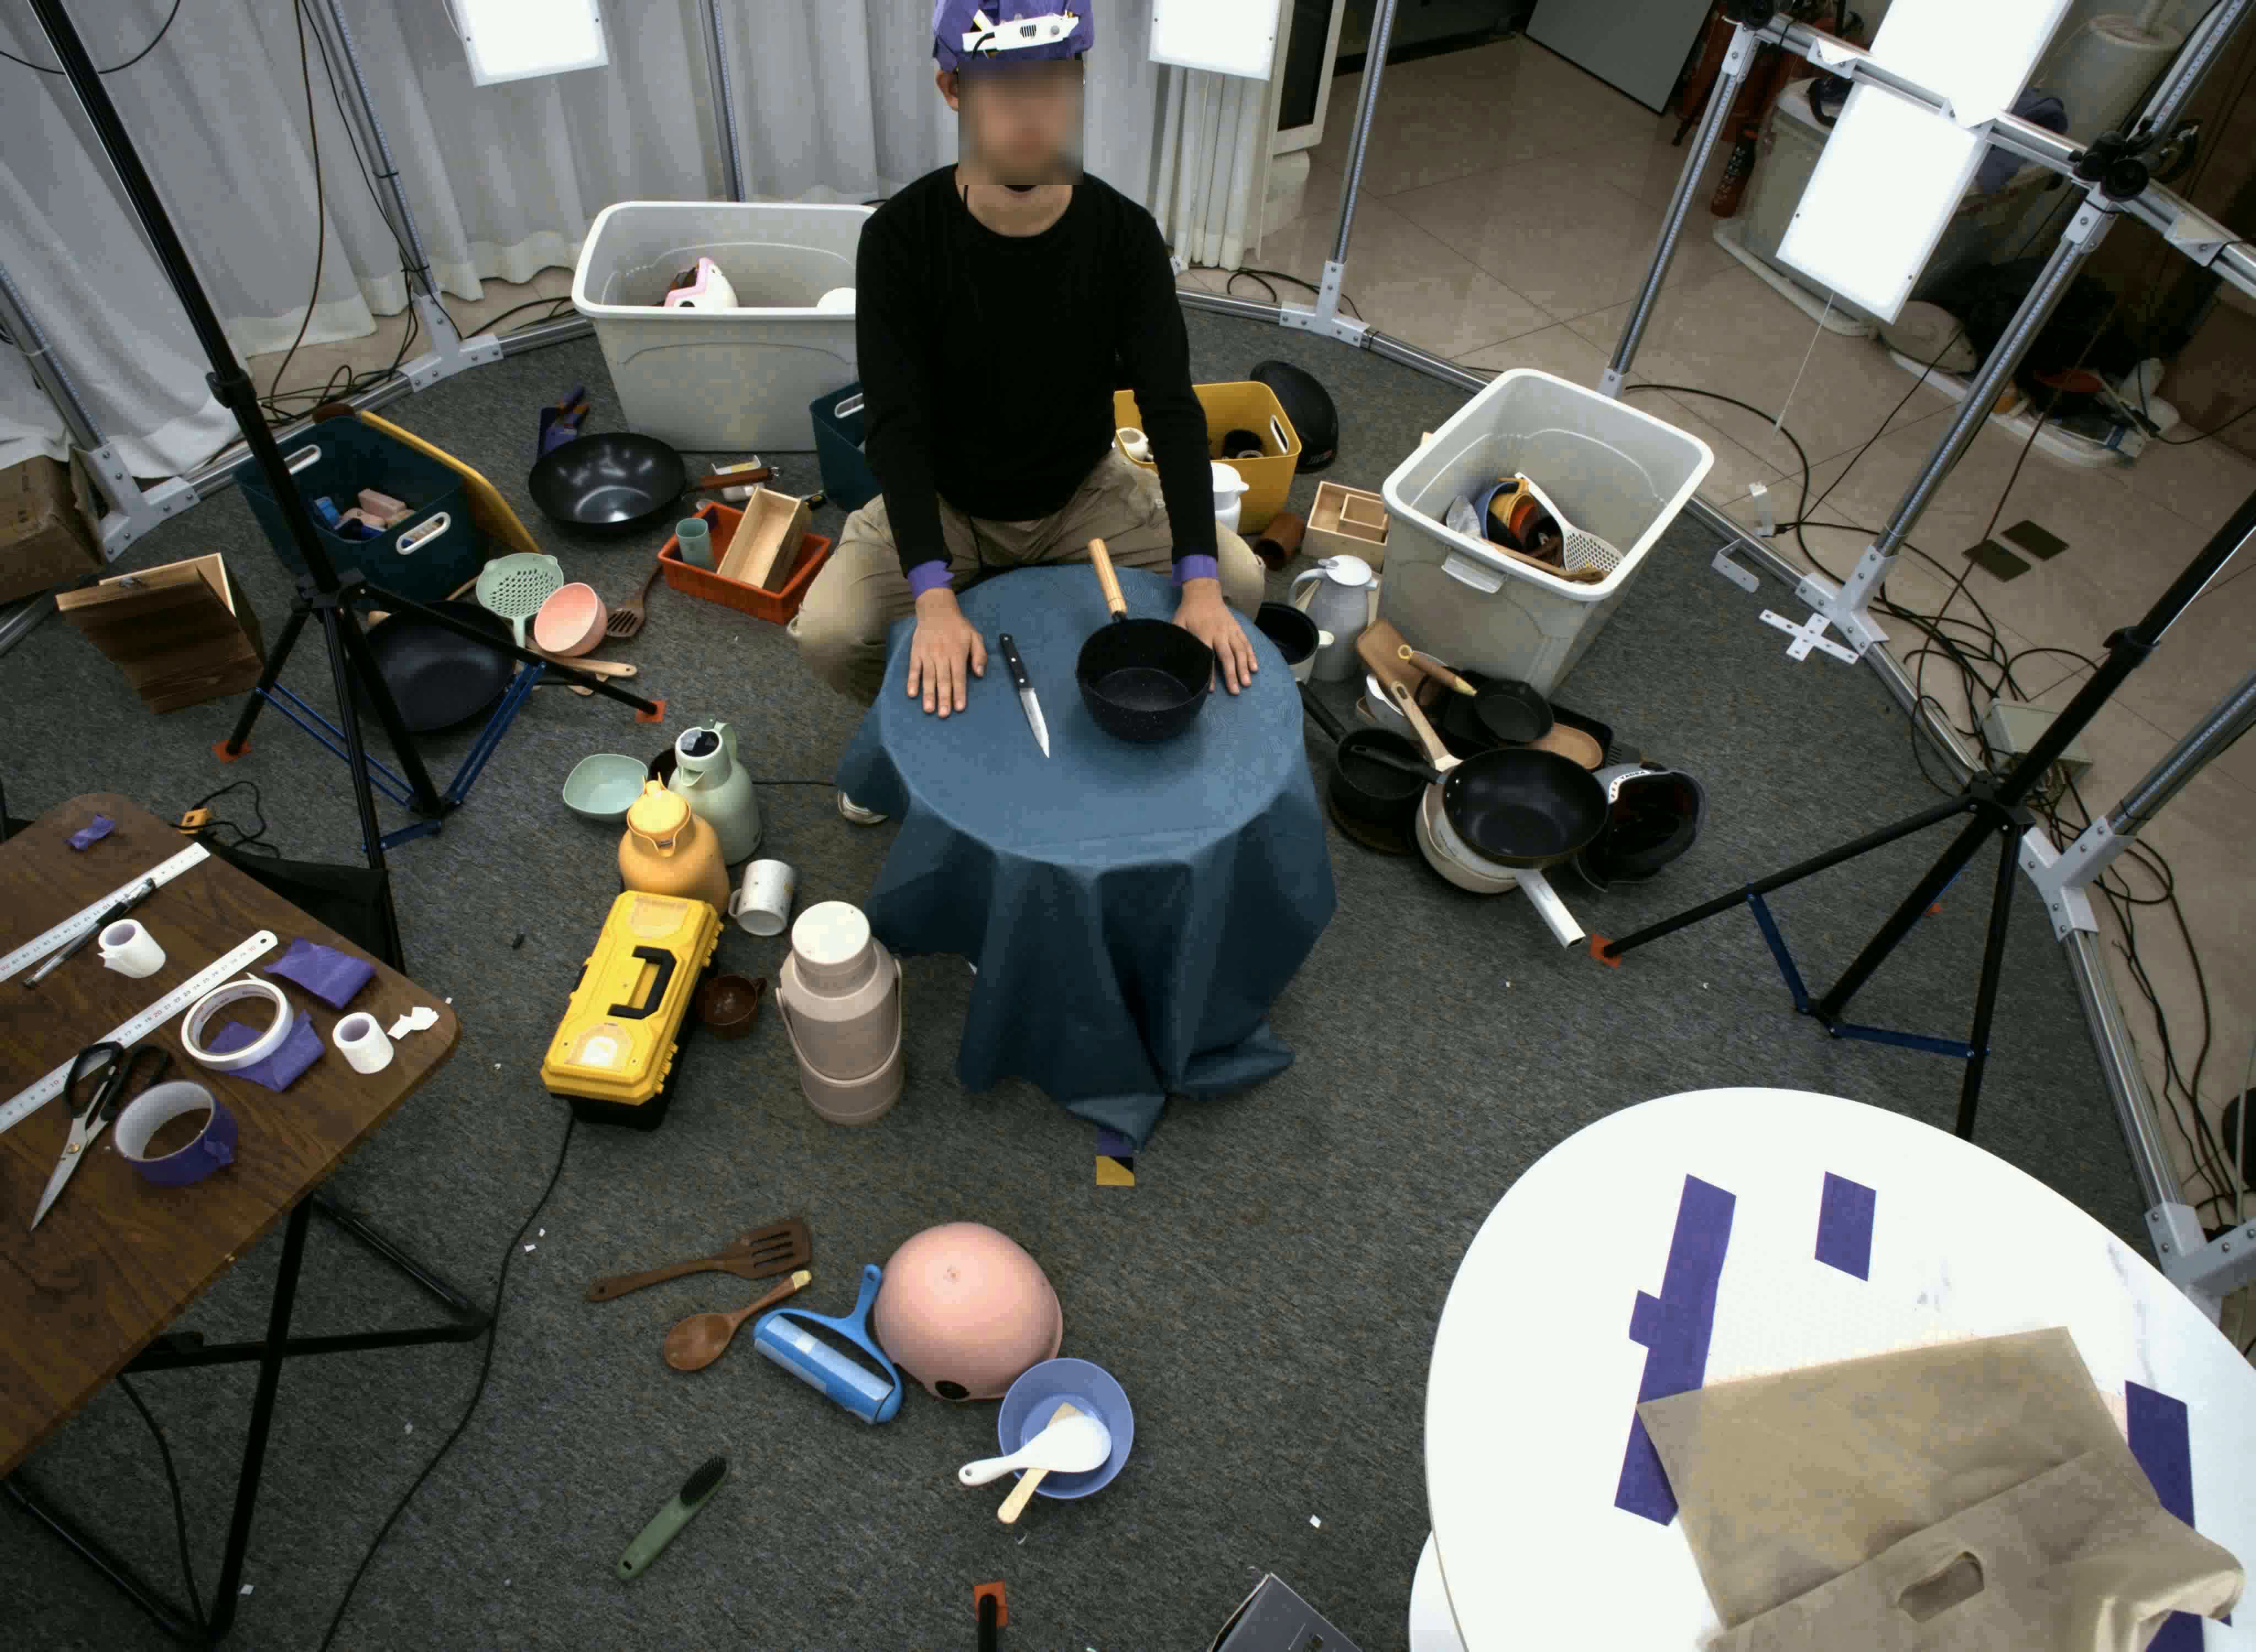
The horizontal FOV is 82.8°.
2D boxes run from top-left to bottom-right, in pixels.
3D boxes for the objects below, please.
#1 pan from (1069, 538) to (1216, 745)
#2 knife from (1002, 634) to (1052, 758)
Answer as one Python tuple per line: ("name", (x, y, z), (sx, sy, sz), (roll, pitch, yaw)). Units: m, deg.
("pan", (-0.002, -0.263, 1.829), (0.207, 0.105, 0.351), (-12, 52, -13))
("knife", (-0.143, -0.185, 1.814), (0.024, 0.016, 0.244), (-9, 53, -16))
